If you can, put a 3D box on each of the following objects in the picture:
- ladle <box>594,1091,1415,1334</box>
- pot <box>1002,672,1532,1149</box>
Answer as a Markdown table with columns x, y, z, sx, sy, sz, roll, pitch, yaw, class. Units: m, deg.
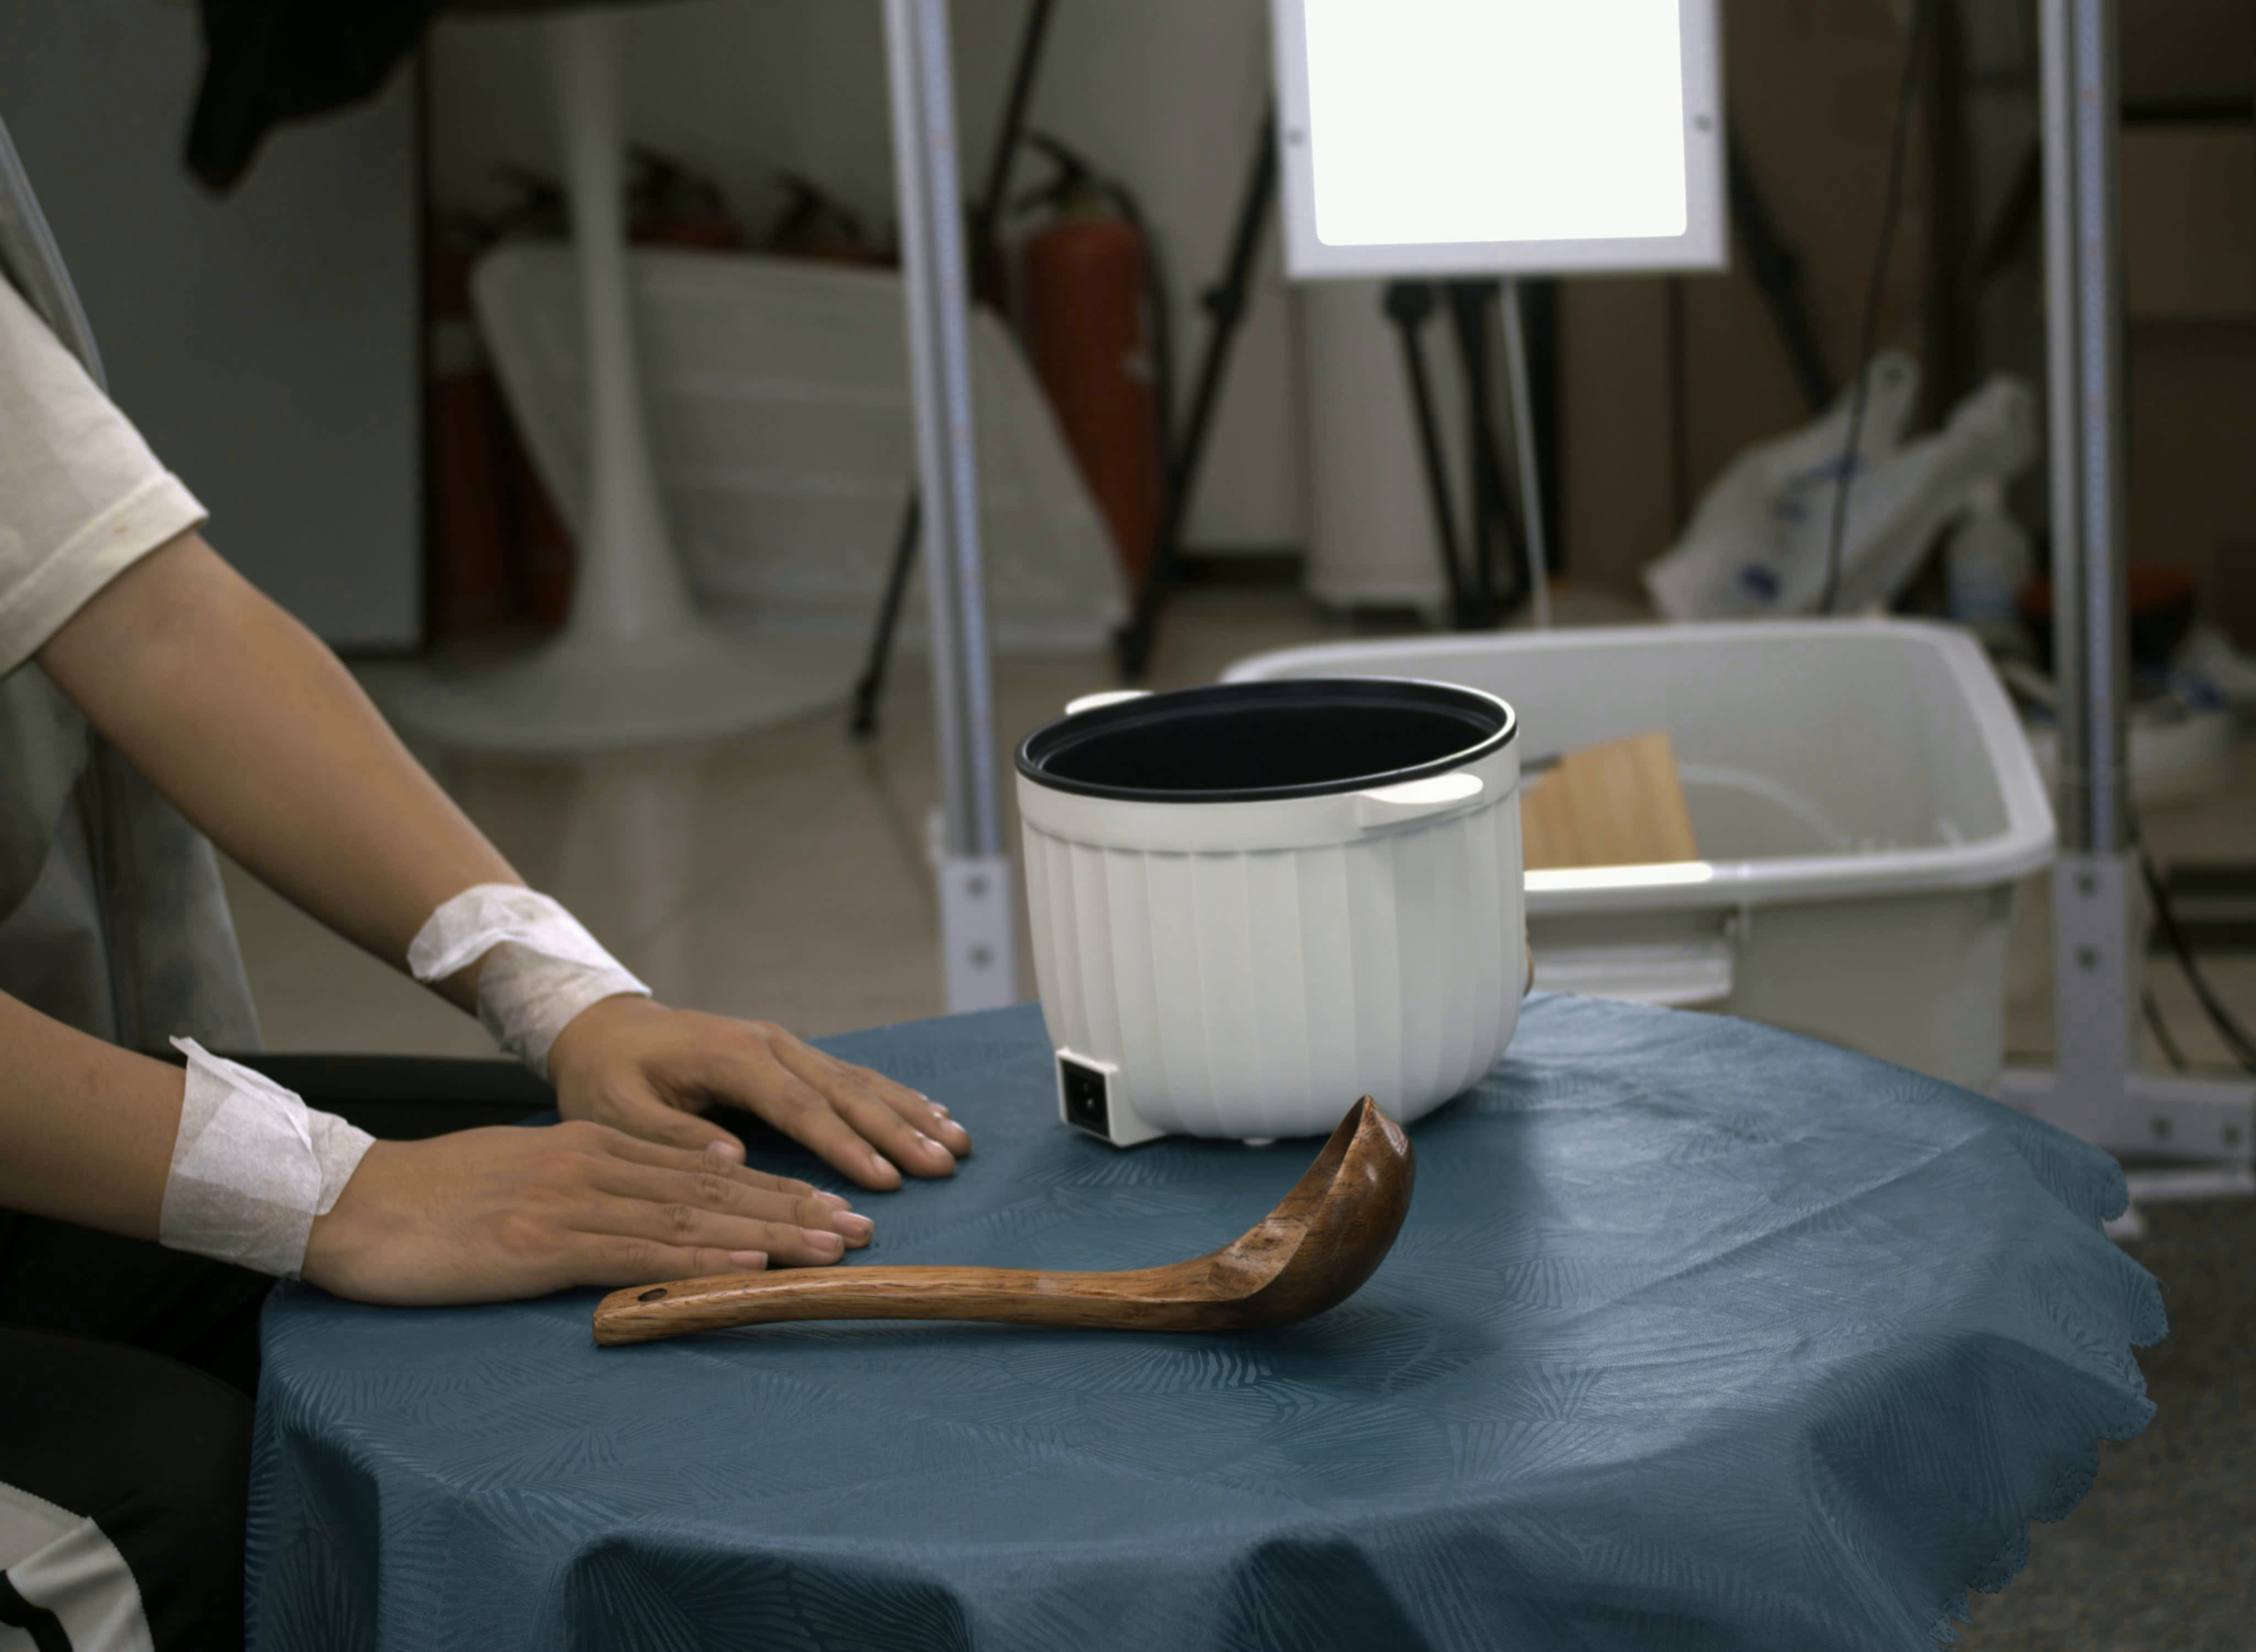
| x | y | z | sx | sy | sz | roll | pitch | yaw | class |
| --- | --- | --- | --- | --- | --- | --- | --- | --- | --- |
| -0.043 | 0.125 | 1.756 | 0.276 | 0.077 | 0.081 | -1 | 16 | 15 | ladle |
| 0.057 | 0.029 | 1.981 | 0.186 | 0.143 | 0.245 | -16 | 18 | -28 | pot |
